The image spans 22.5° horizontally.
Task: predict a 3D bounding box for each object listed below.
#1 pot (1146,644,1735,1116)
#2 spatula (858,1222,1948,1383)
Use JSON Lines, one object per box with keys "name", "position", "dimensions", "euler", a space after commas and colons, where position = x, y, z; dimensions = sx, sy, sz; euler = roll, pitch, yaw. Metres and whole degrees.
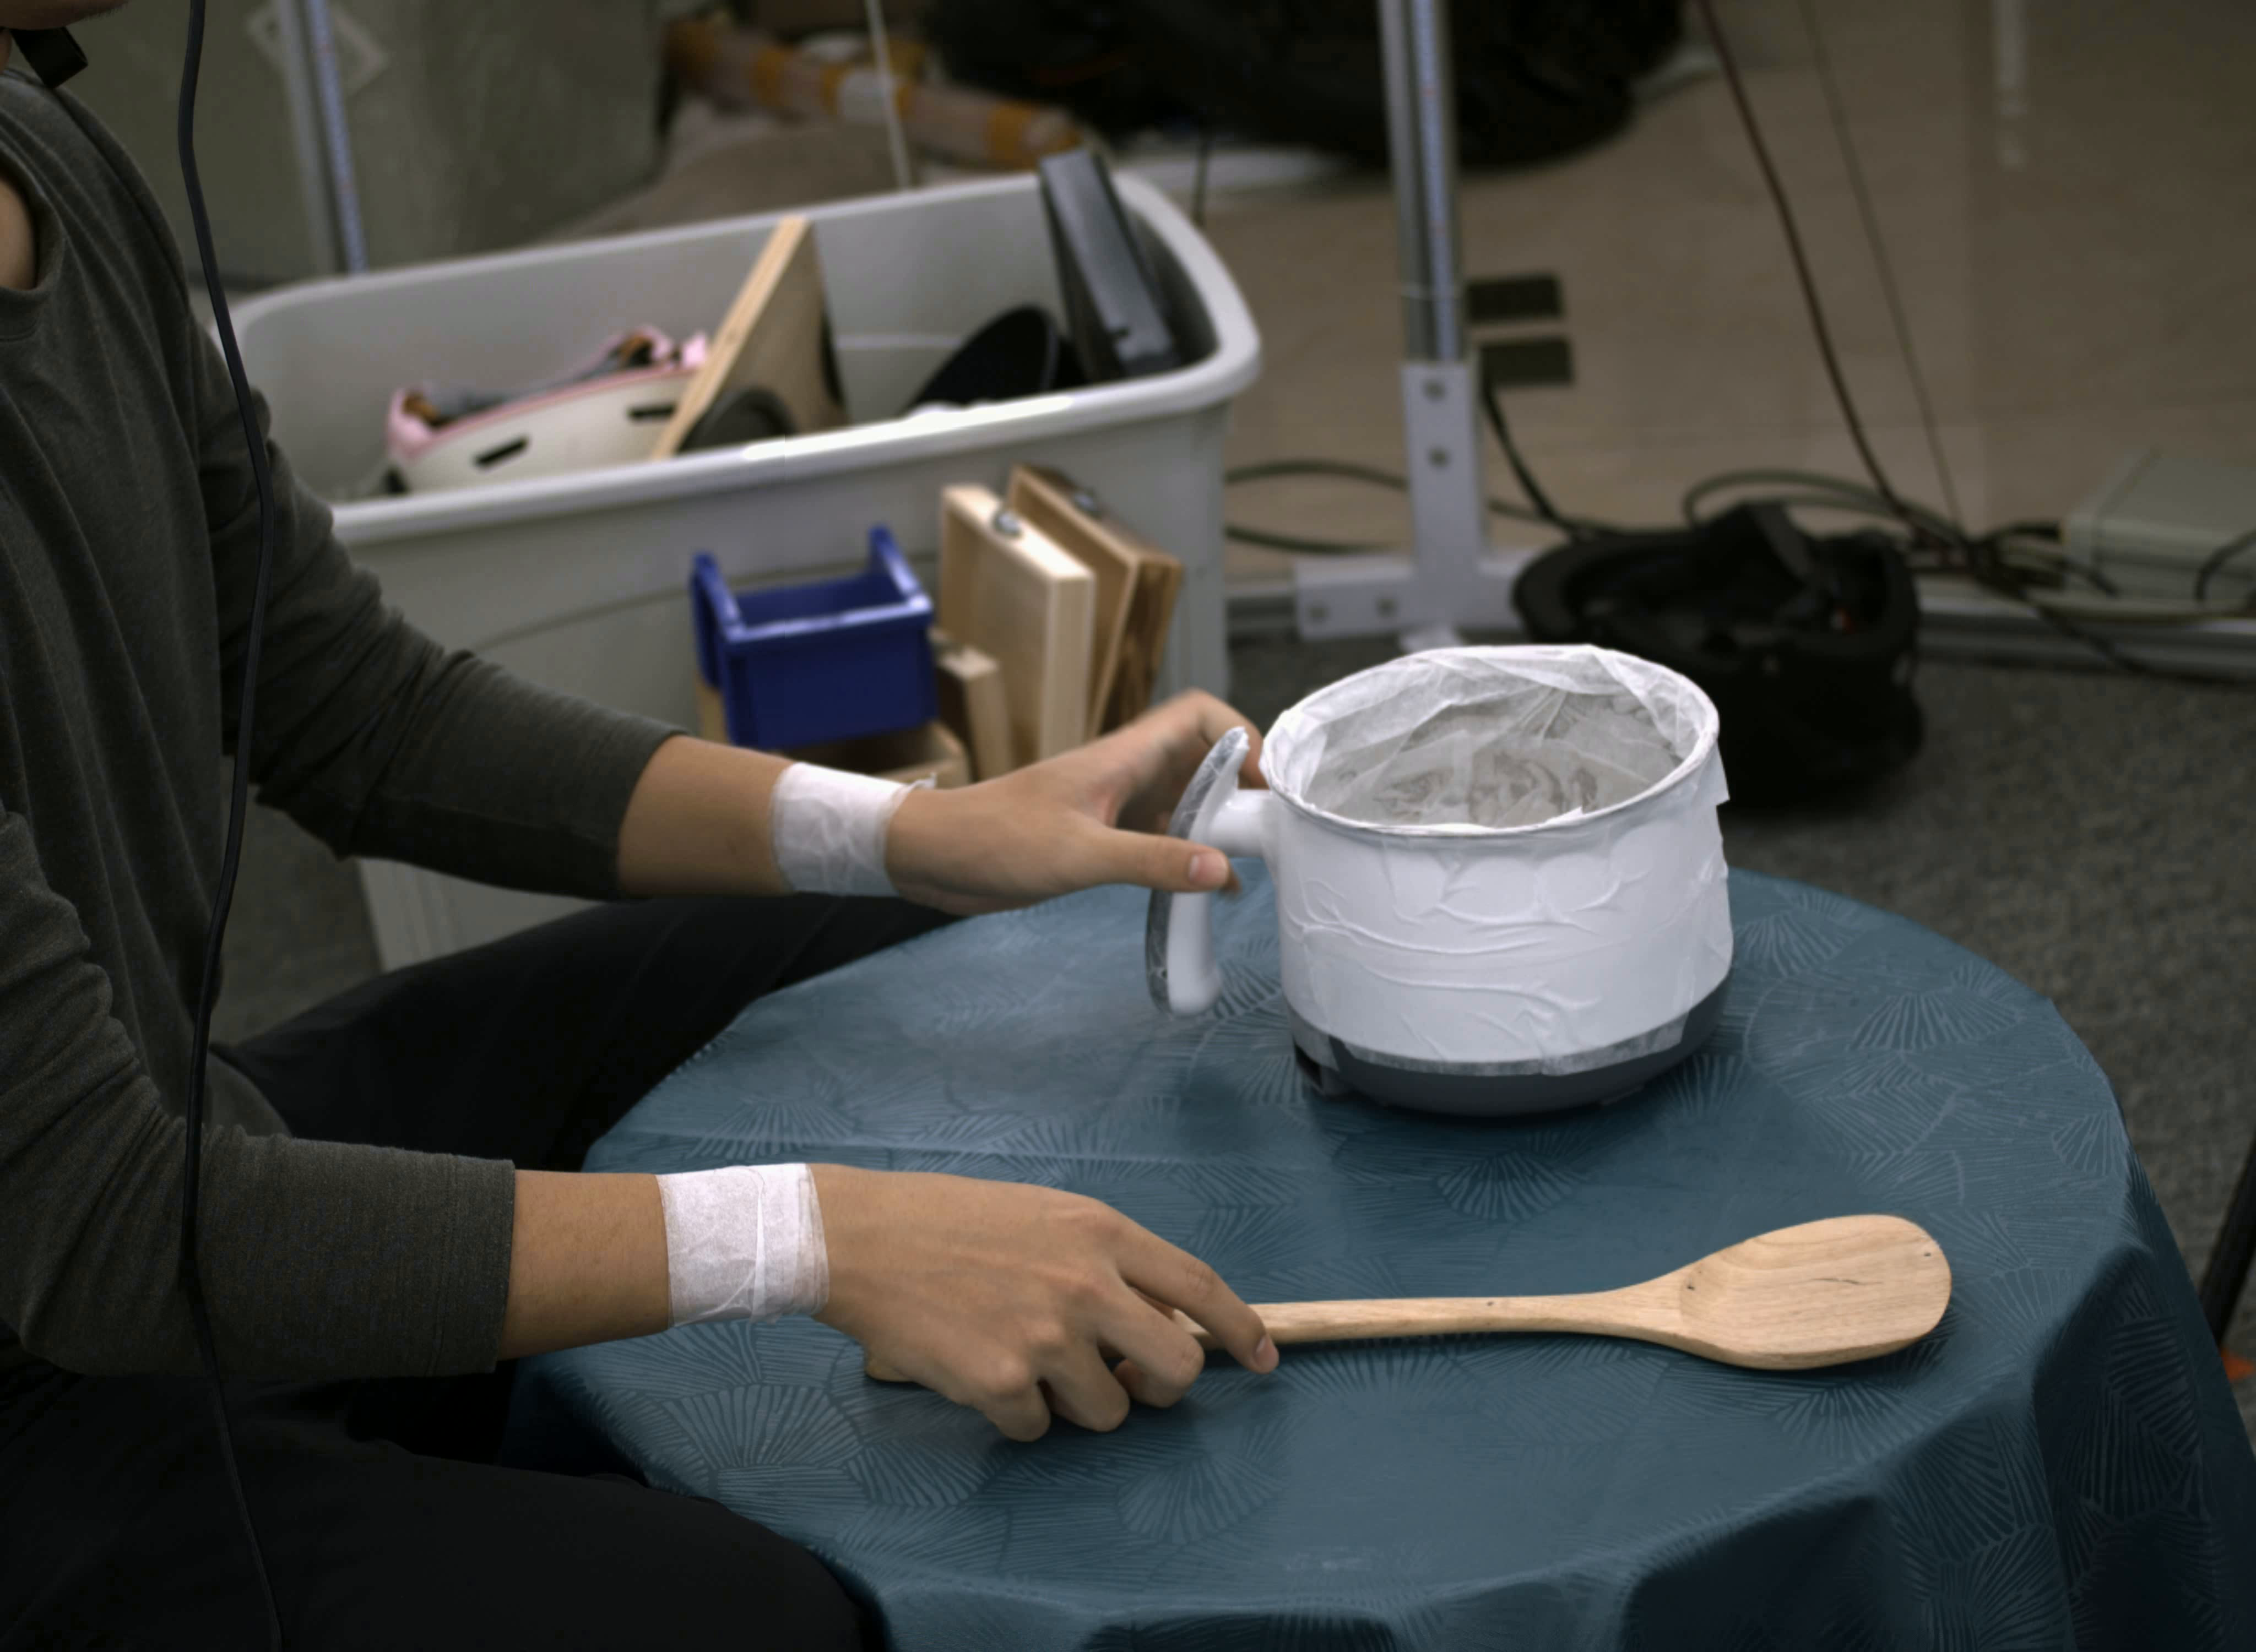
{"name": "pot", "position": [0.118, 0.023, 2.207], "dimensions": [0.233, 0.139, 0.176], "euler": [-1, 25, 12]}
{"name": "spatula", "position": [0.095, 0.178, 2.022], "dimensions": [0.390, 0.019, 0.094], "euler": [-4, 23, 6]}
